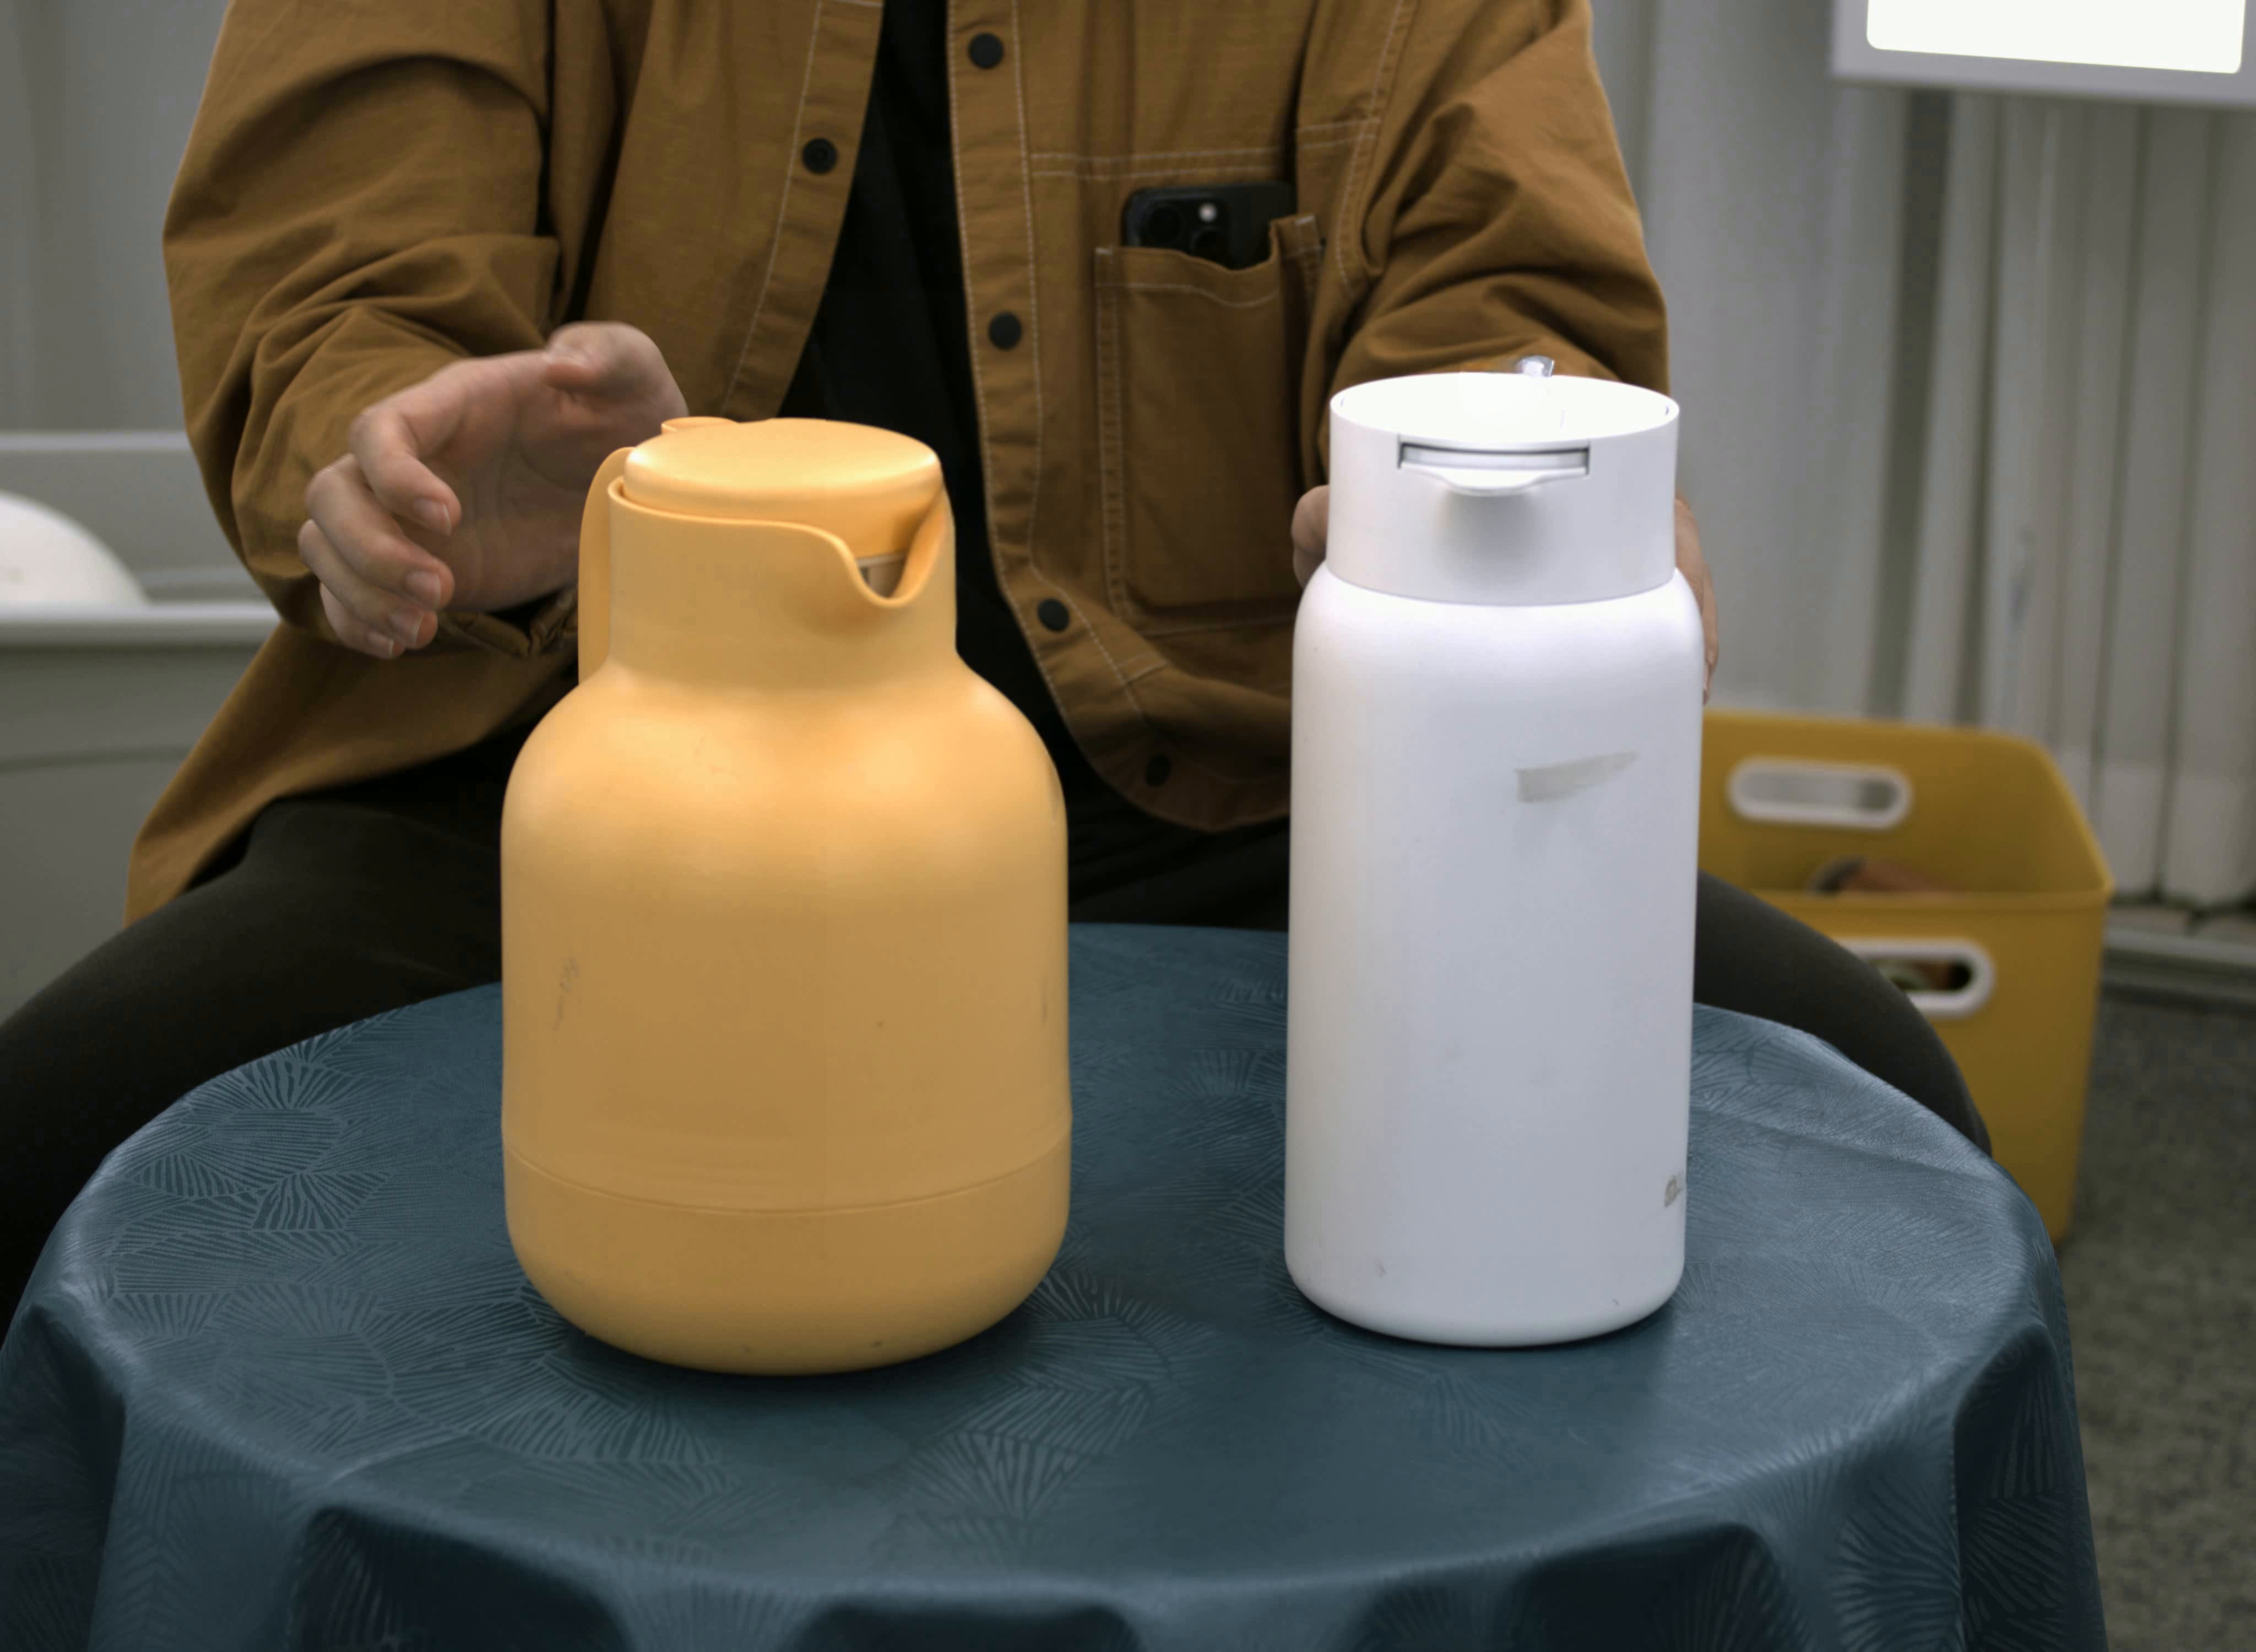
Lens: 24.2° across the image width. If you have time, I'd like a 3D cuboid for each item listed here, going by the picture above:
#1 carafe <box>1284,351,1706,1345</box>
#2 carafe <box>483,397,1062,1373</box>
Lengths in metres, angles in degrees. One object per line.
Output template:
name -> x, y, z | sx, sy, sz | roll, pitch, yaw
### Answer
carafe -> 0.105, 0.002, 1.522 | 0.123, 0.271, 0.172 | 0, 16, 7
carafe -> -0.106, 0.008, 1.500 | 0.164, 0.262, 0.200 | -4, 18, -26
